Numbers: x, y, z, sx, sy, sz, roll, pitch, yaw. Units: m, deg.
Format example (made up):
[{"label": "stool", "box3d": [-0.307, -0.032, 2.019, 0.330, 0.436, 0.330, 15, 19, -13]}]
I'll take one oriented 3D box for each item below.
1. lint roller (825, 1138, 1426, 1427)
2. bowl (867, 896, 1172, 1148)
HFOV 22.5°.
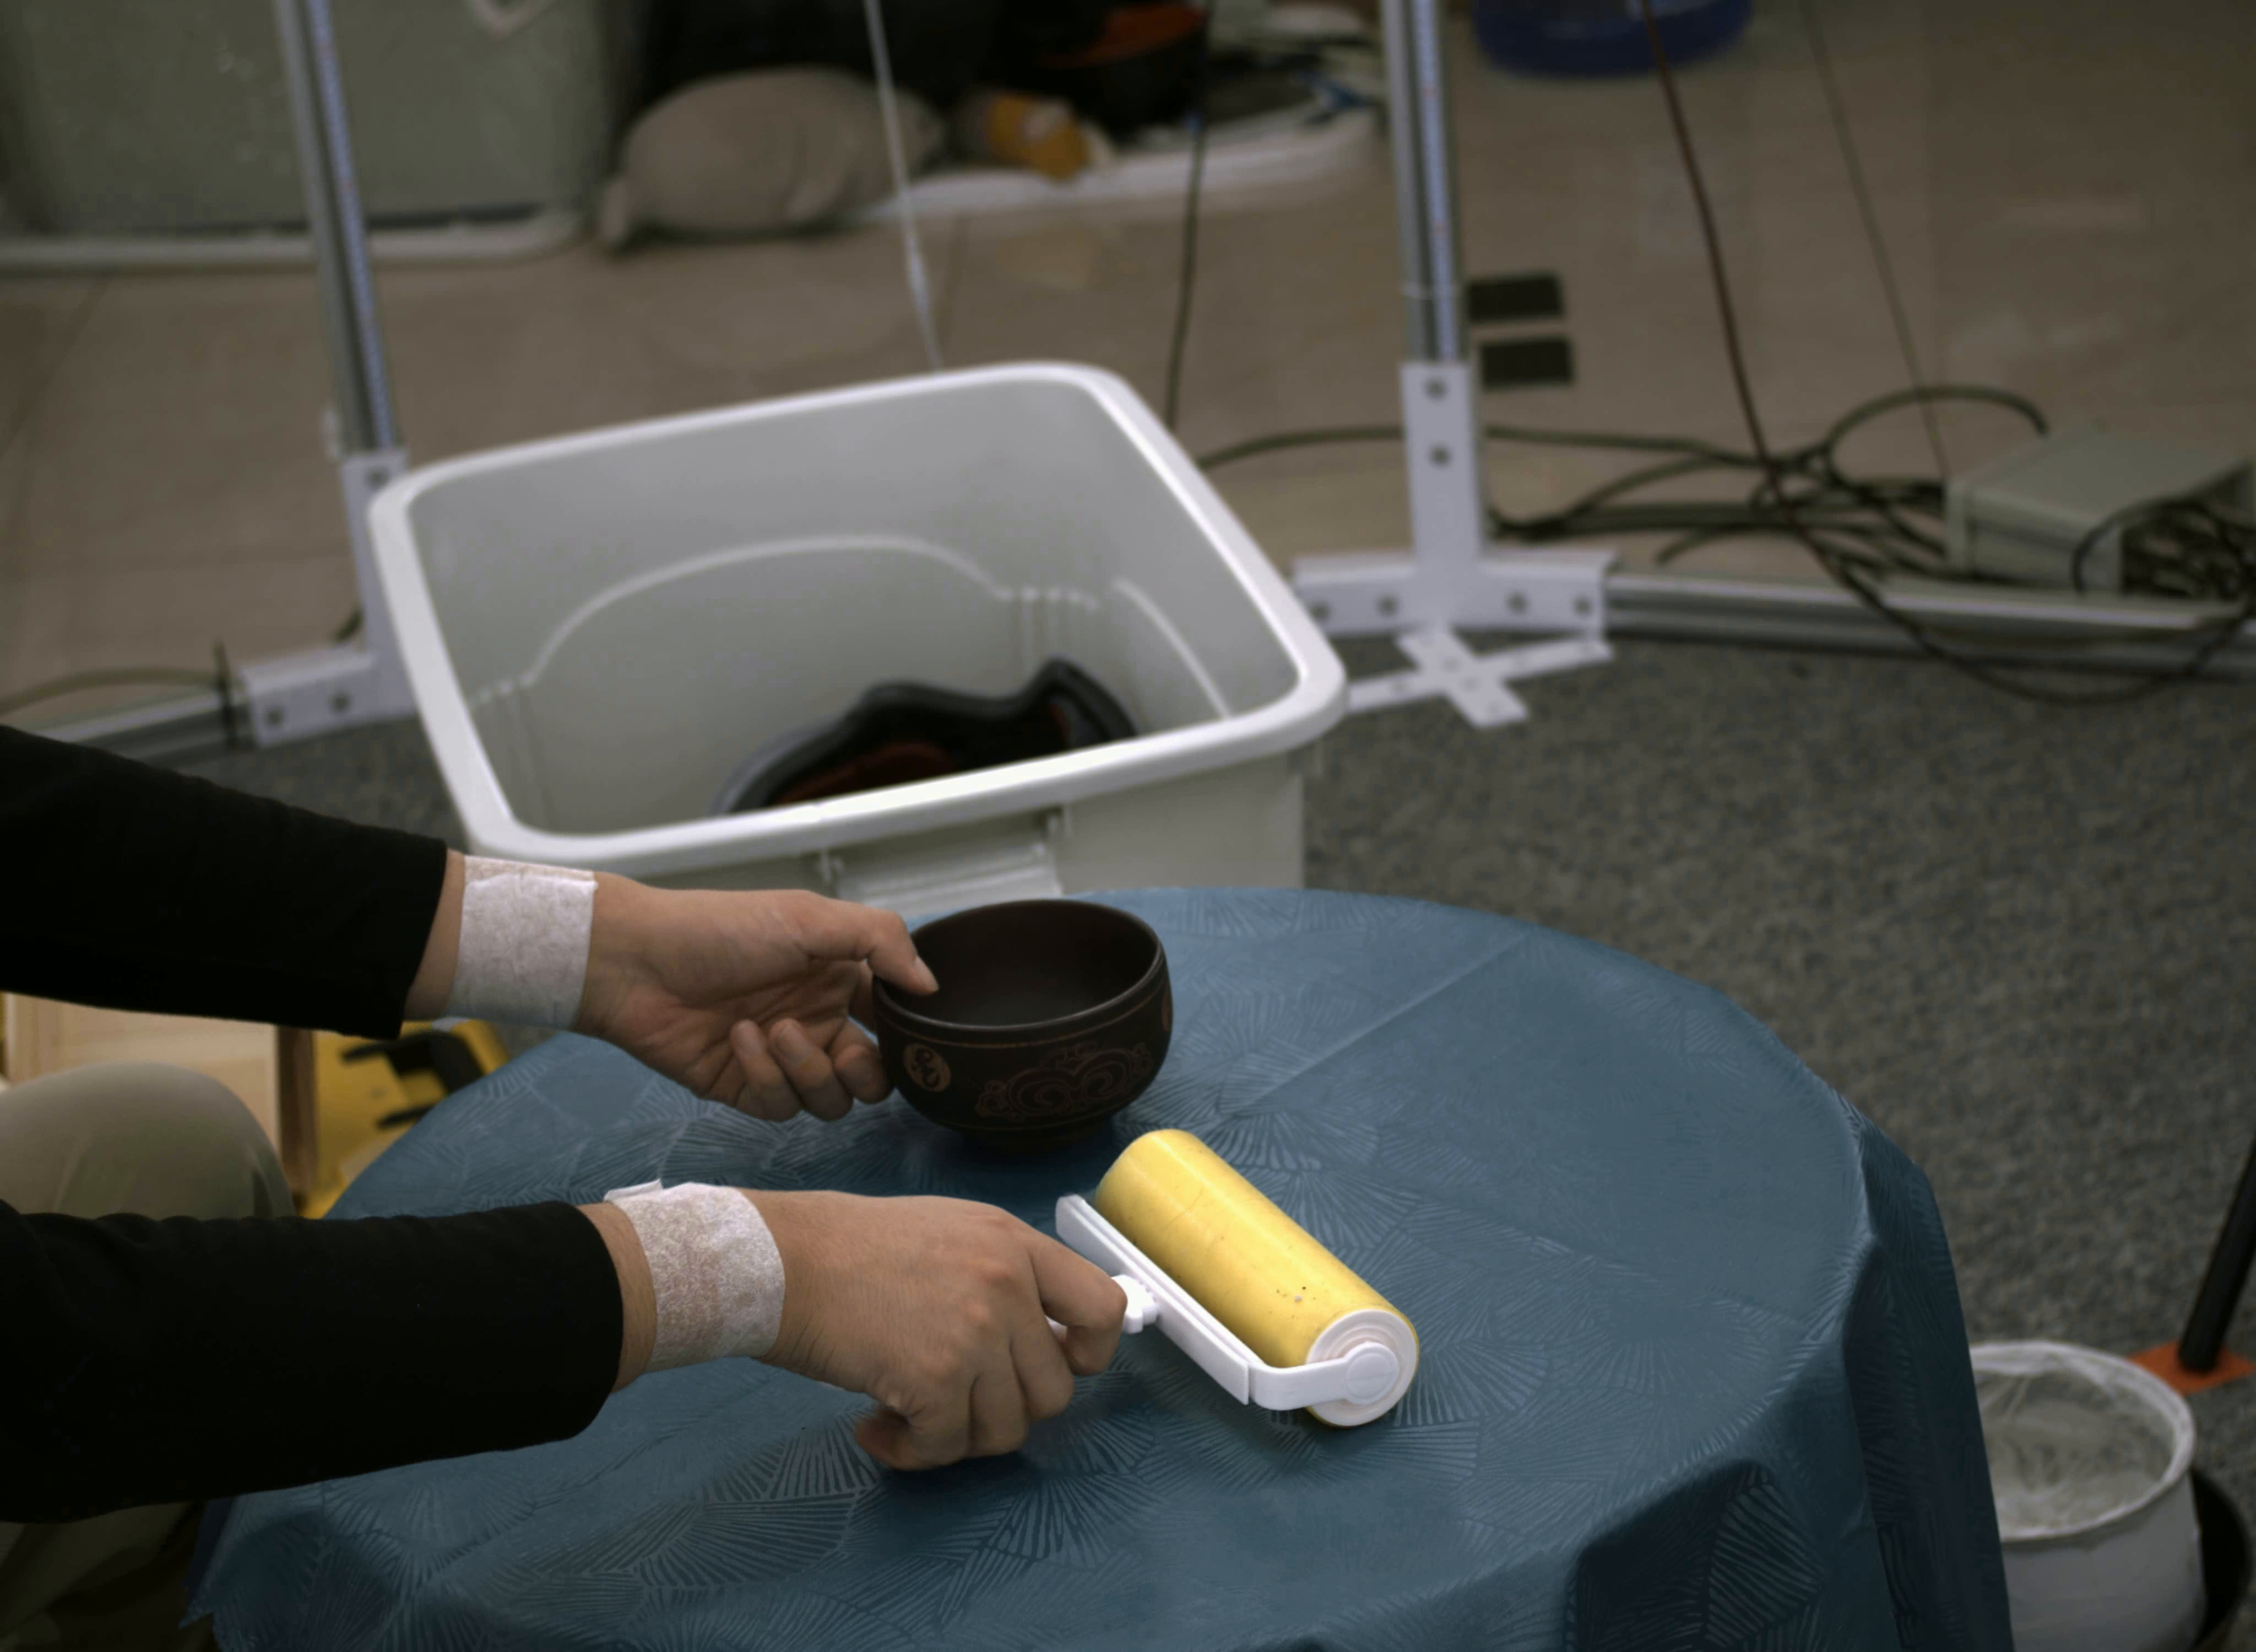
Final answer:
[{"label": "lint roller", "box3d": [-0.017, 0.165, 1.999, 0.192, 0.052, 0.172, -1, 20, -29]}, {"label": "bowl", "box3d": [-0.040, 0.081, 2.192, 0.118, 0.071, 0.116, -5, 24, 2]}]
